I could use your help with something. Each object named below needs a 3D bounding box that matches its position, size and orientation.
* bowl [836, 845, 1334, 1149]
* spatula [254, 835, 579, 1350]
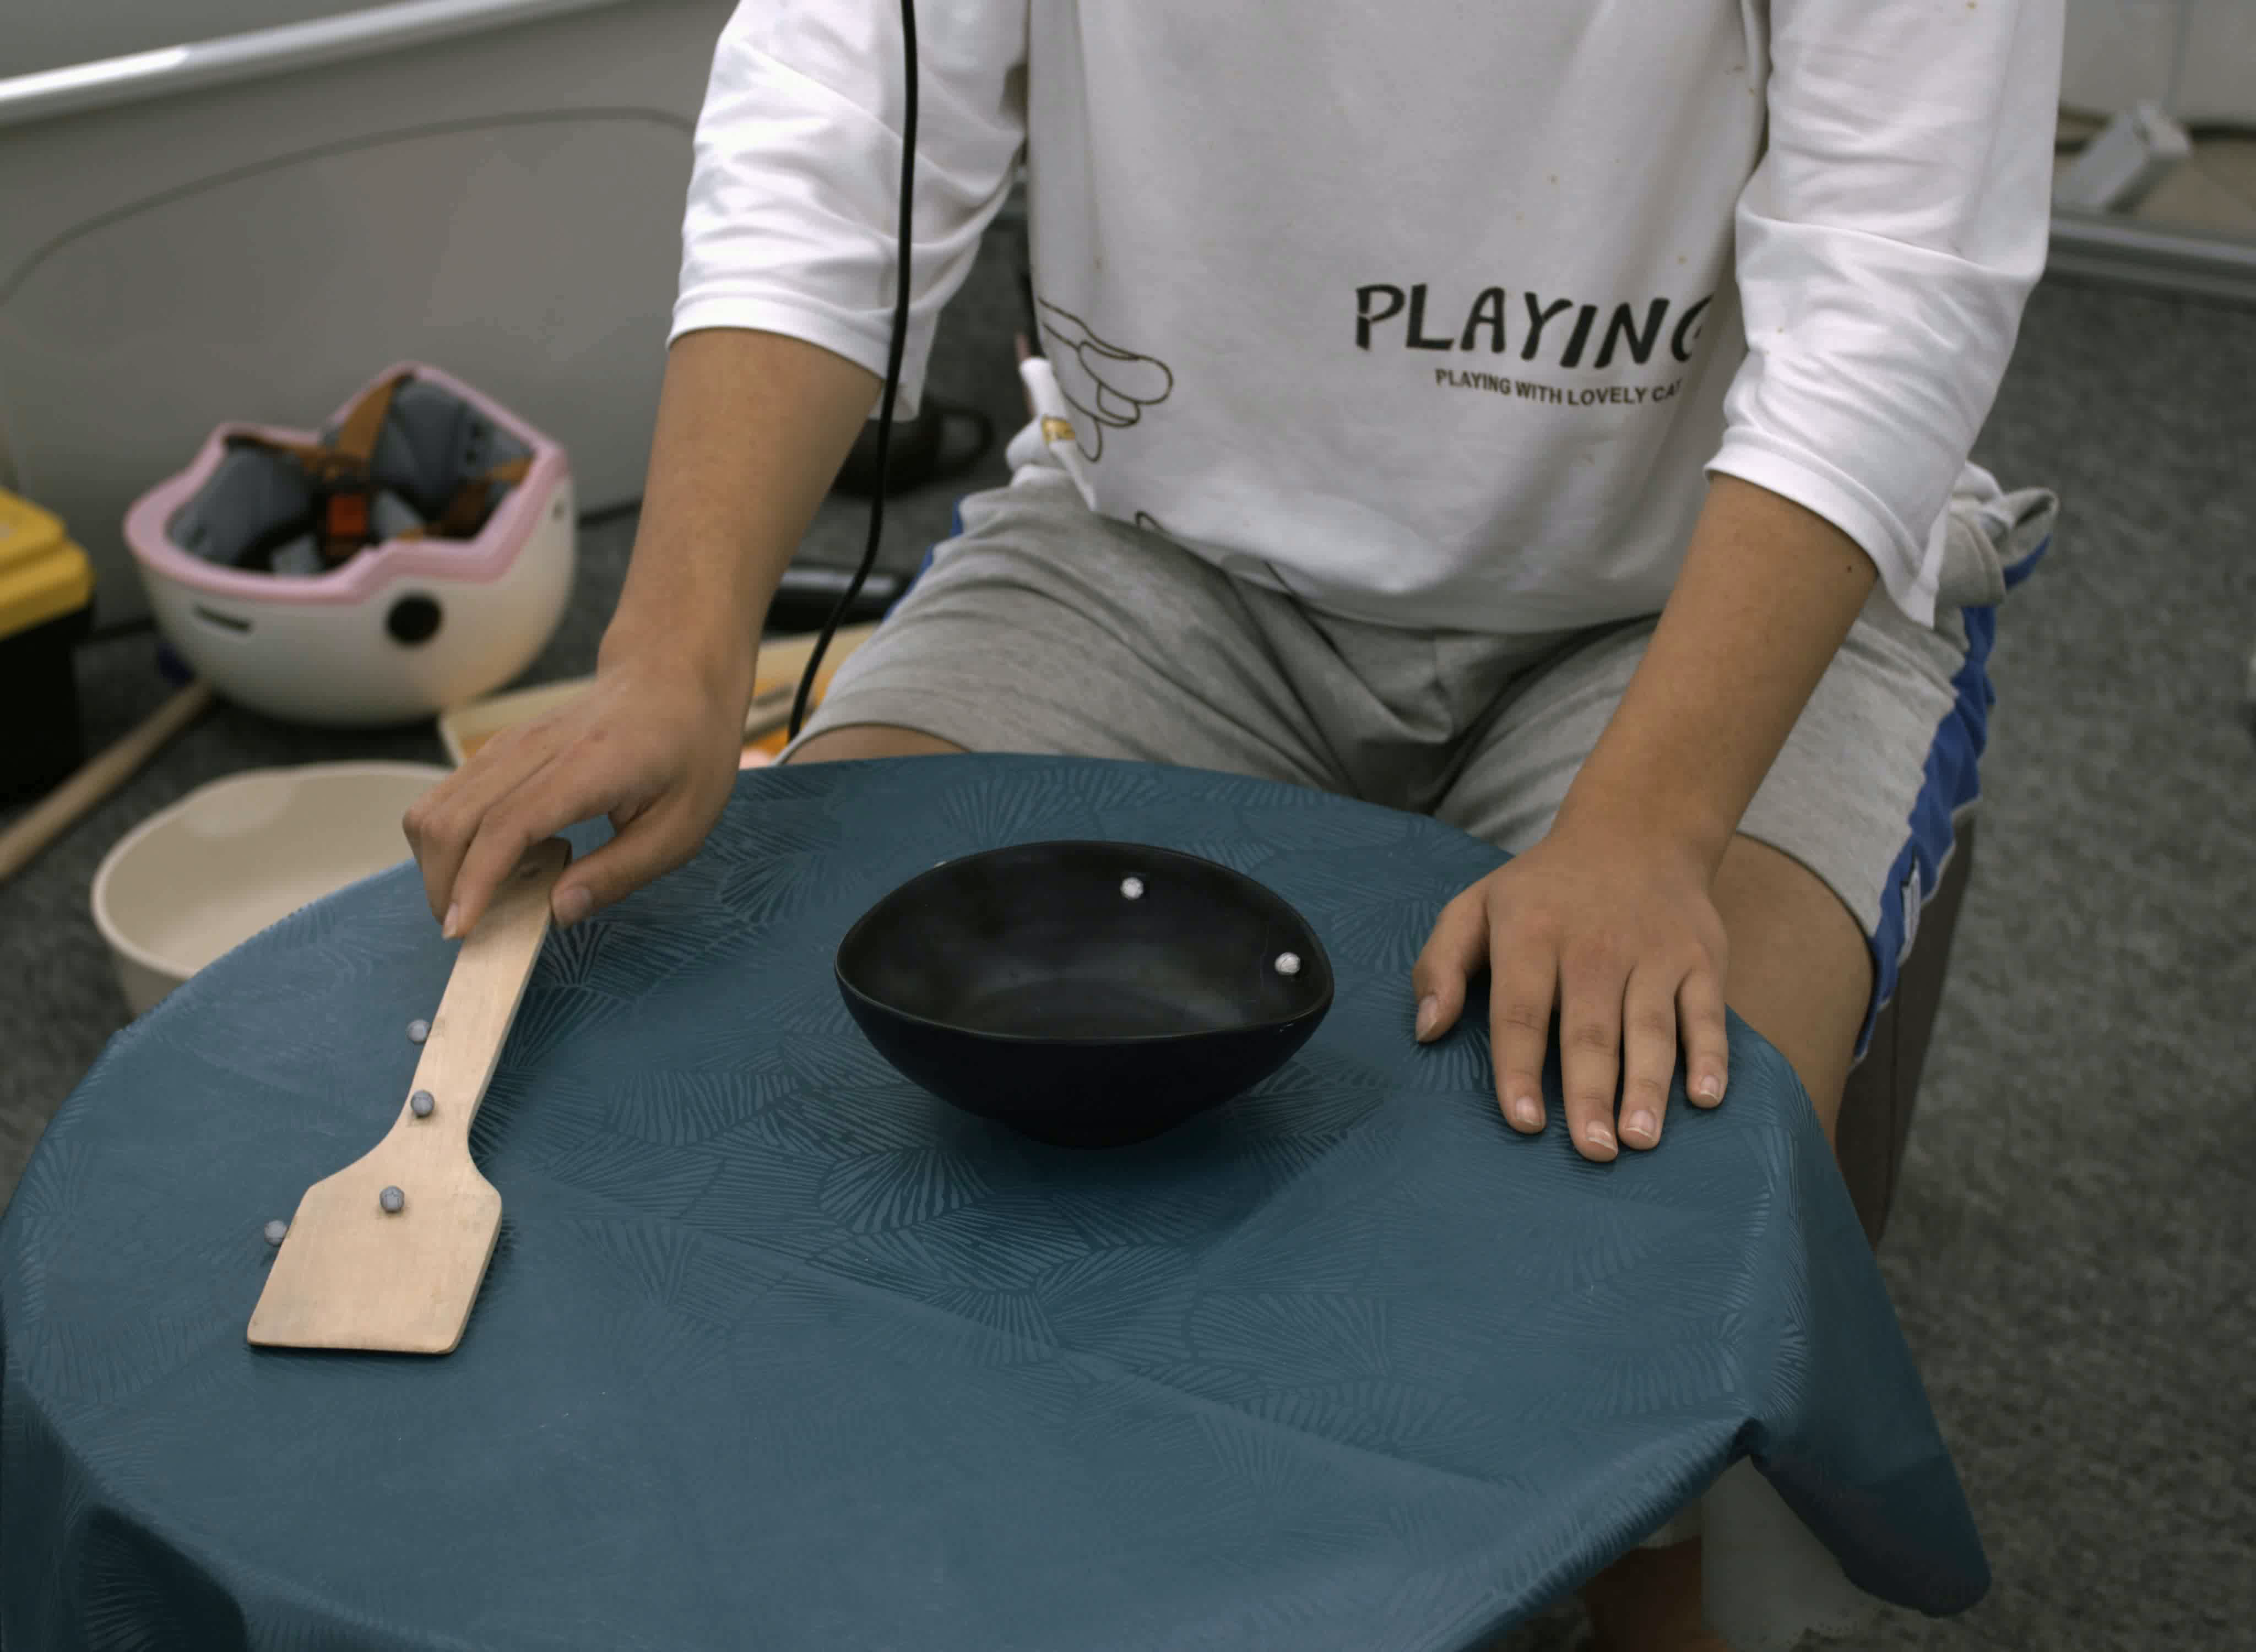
[{"bbox_3d":[-0.014,0.065,1.907,0.169,0.066,0.139,3,27,6],"label":"bowl"},{"bbox_3d":[-0.230,0.087,1.917,0.072,0.010,0.298,1,34,7],"label":"spatula"}]
